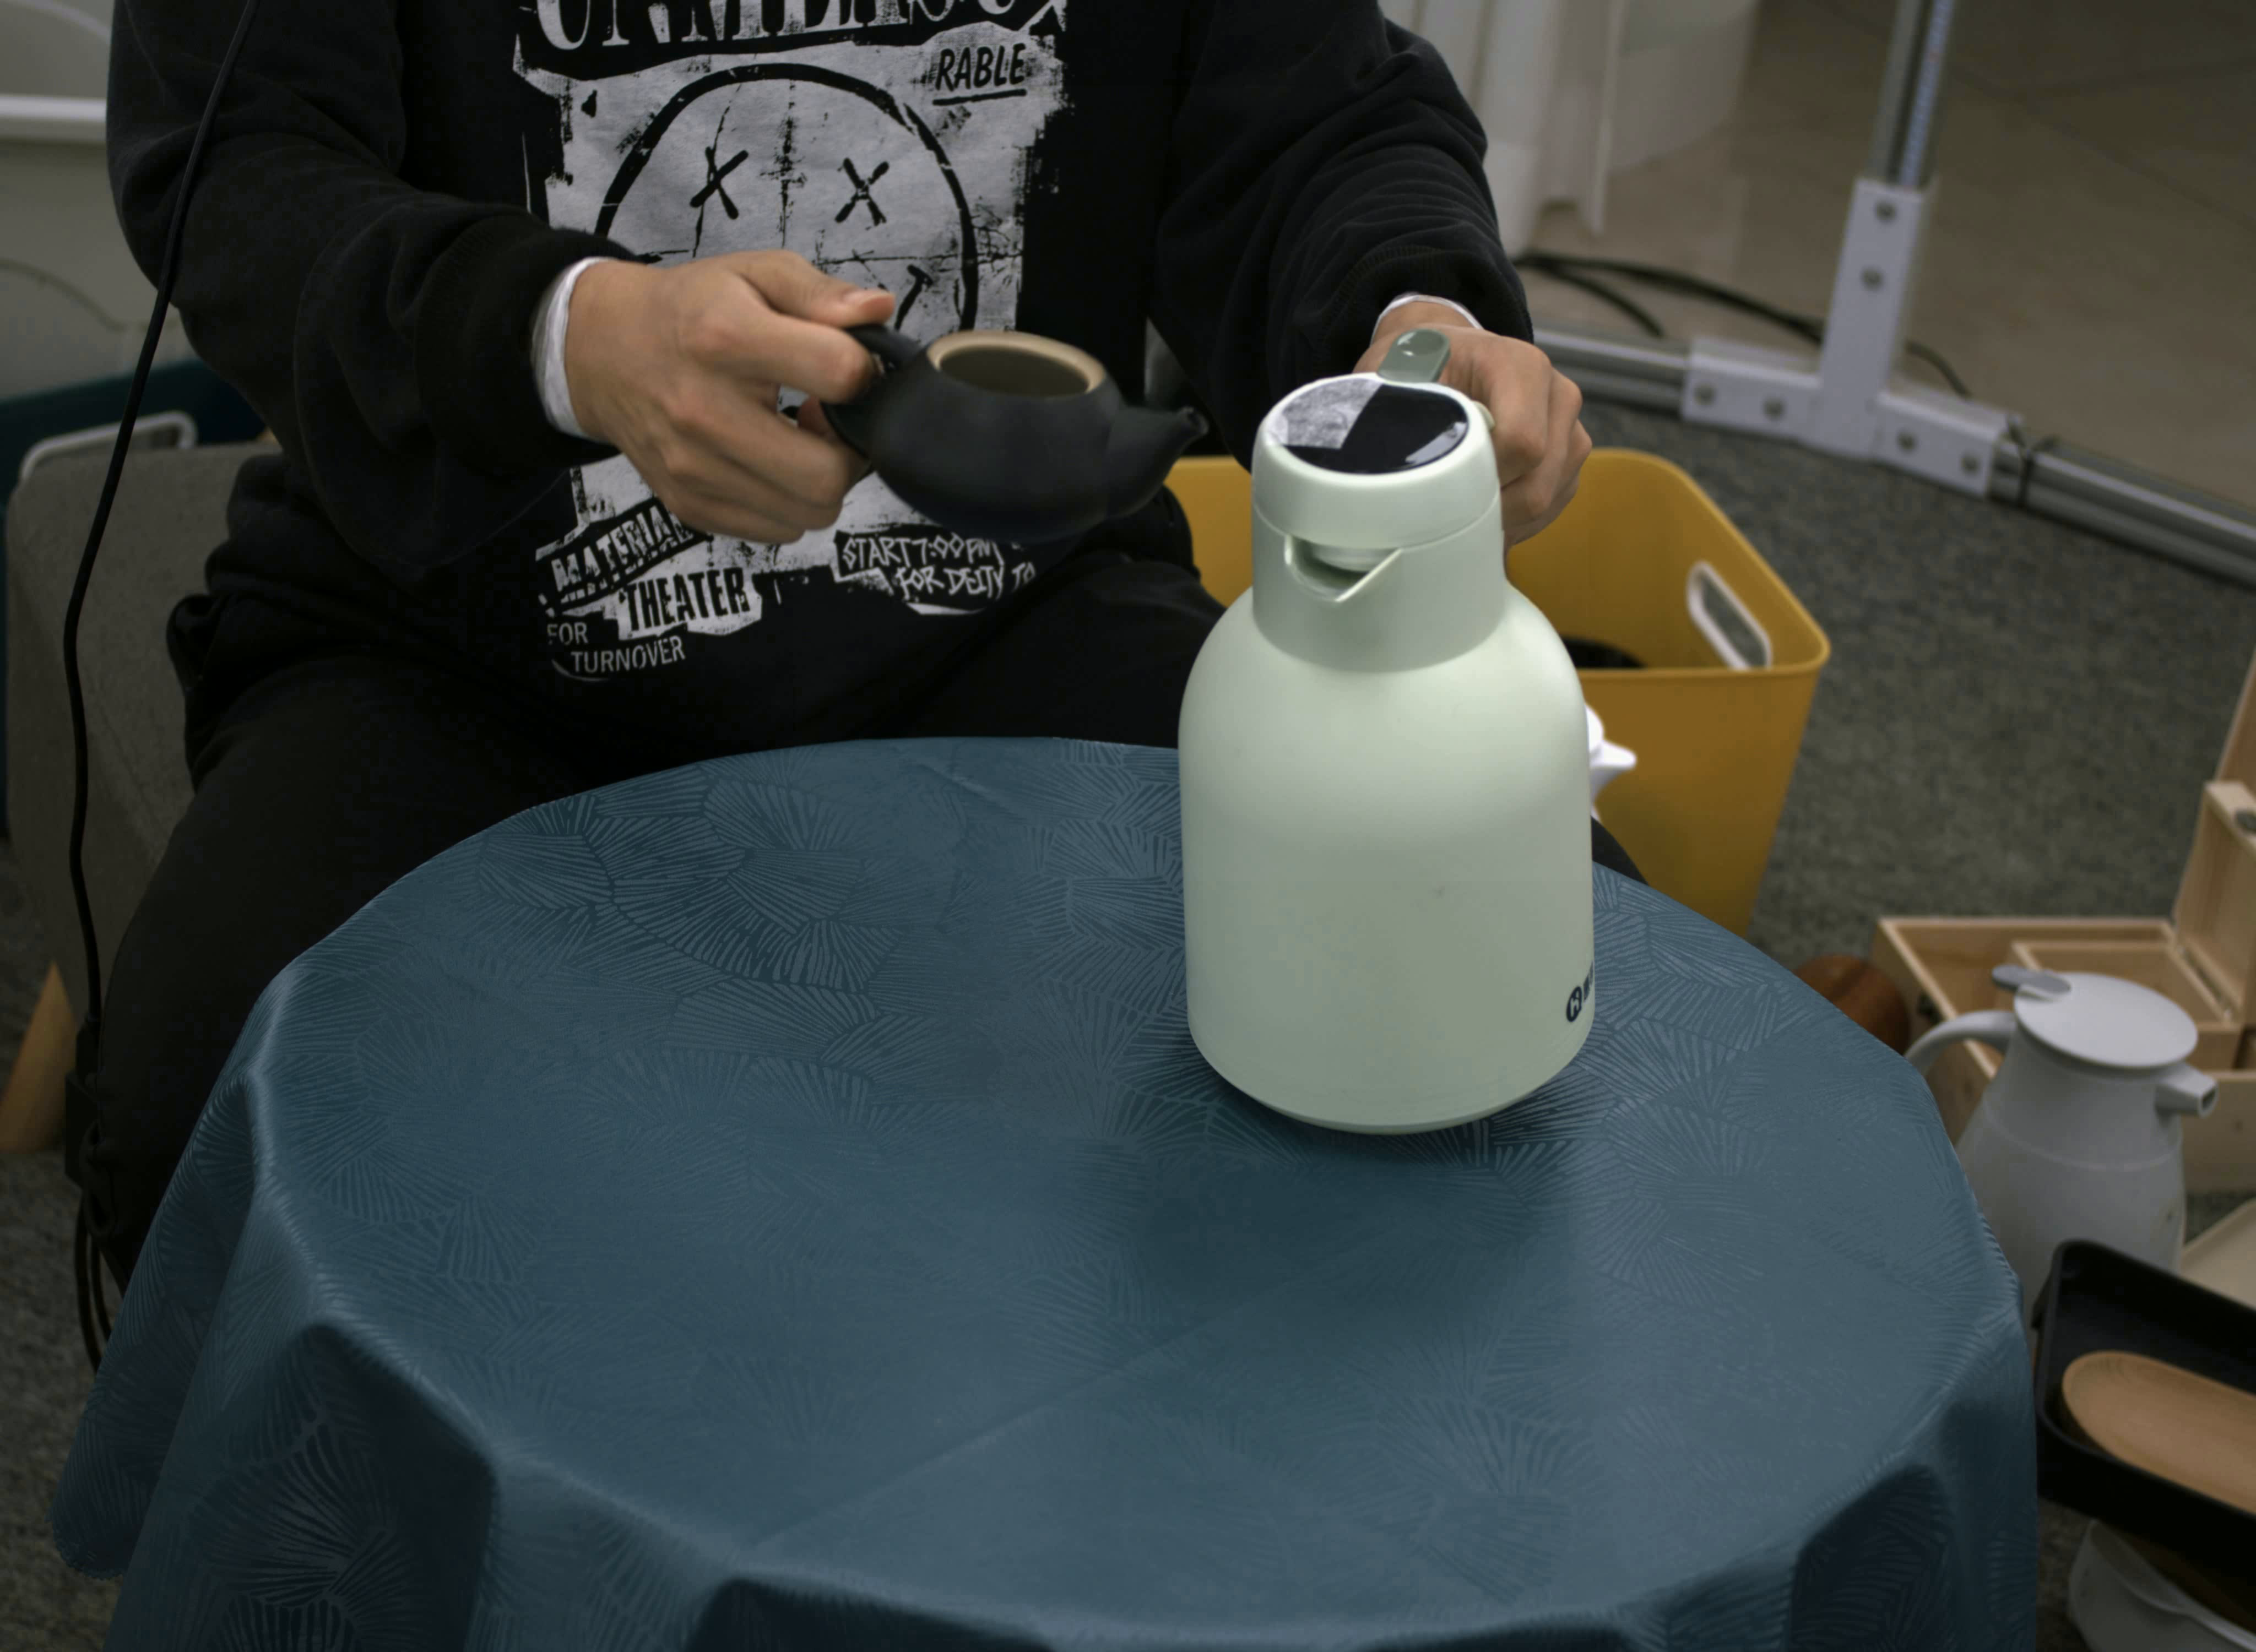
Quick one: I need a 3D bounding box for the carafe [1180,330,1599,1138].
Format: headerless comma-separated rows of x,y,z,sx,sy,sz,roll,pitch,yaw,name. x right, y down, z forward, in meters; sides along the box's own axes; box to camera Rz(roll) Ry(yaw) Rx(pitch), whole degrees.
0.093,-0.037,1.841,0.144,0.255,0.187,7,31,18,carafe

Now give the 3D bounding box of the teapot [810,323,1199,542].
-0.043,-0.126,1.731,0.133,0.053,0.091,17,24,14,teapot
